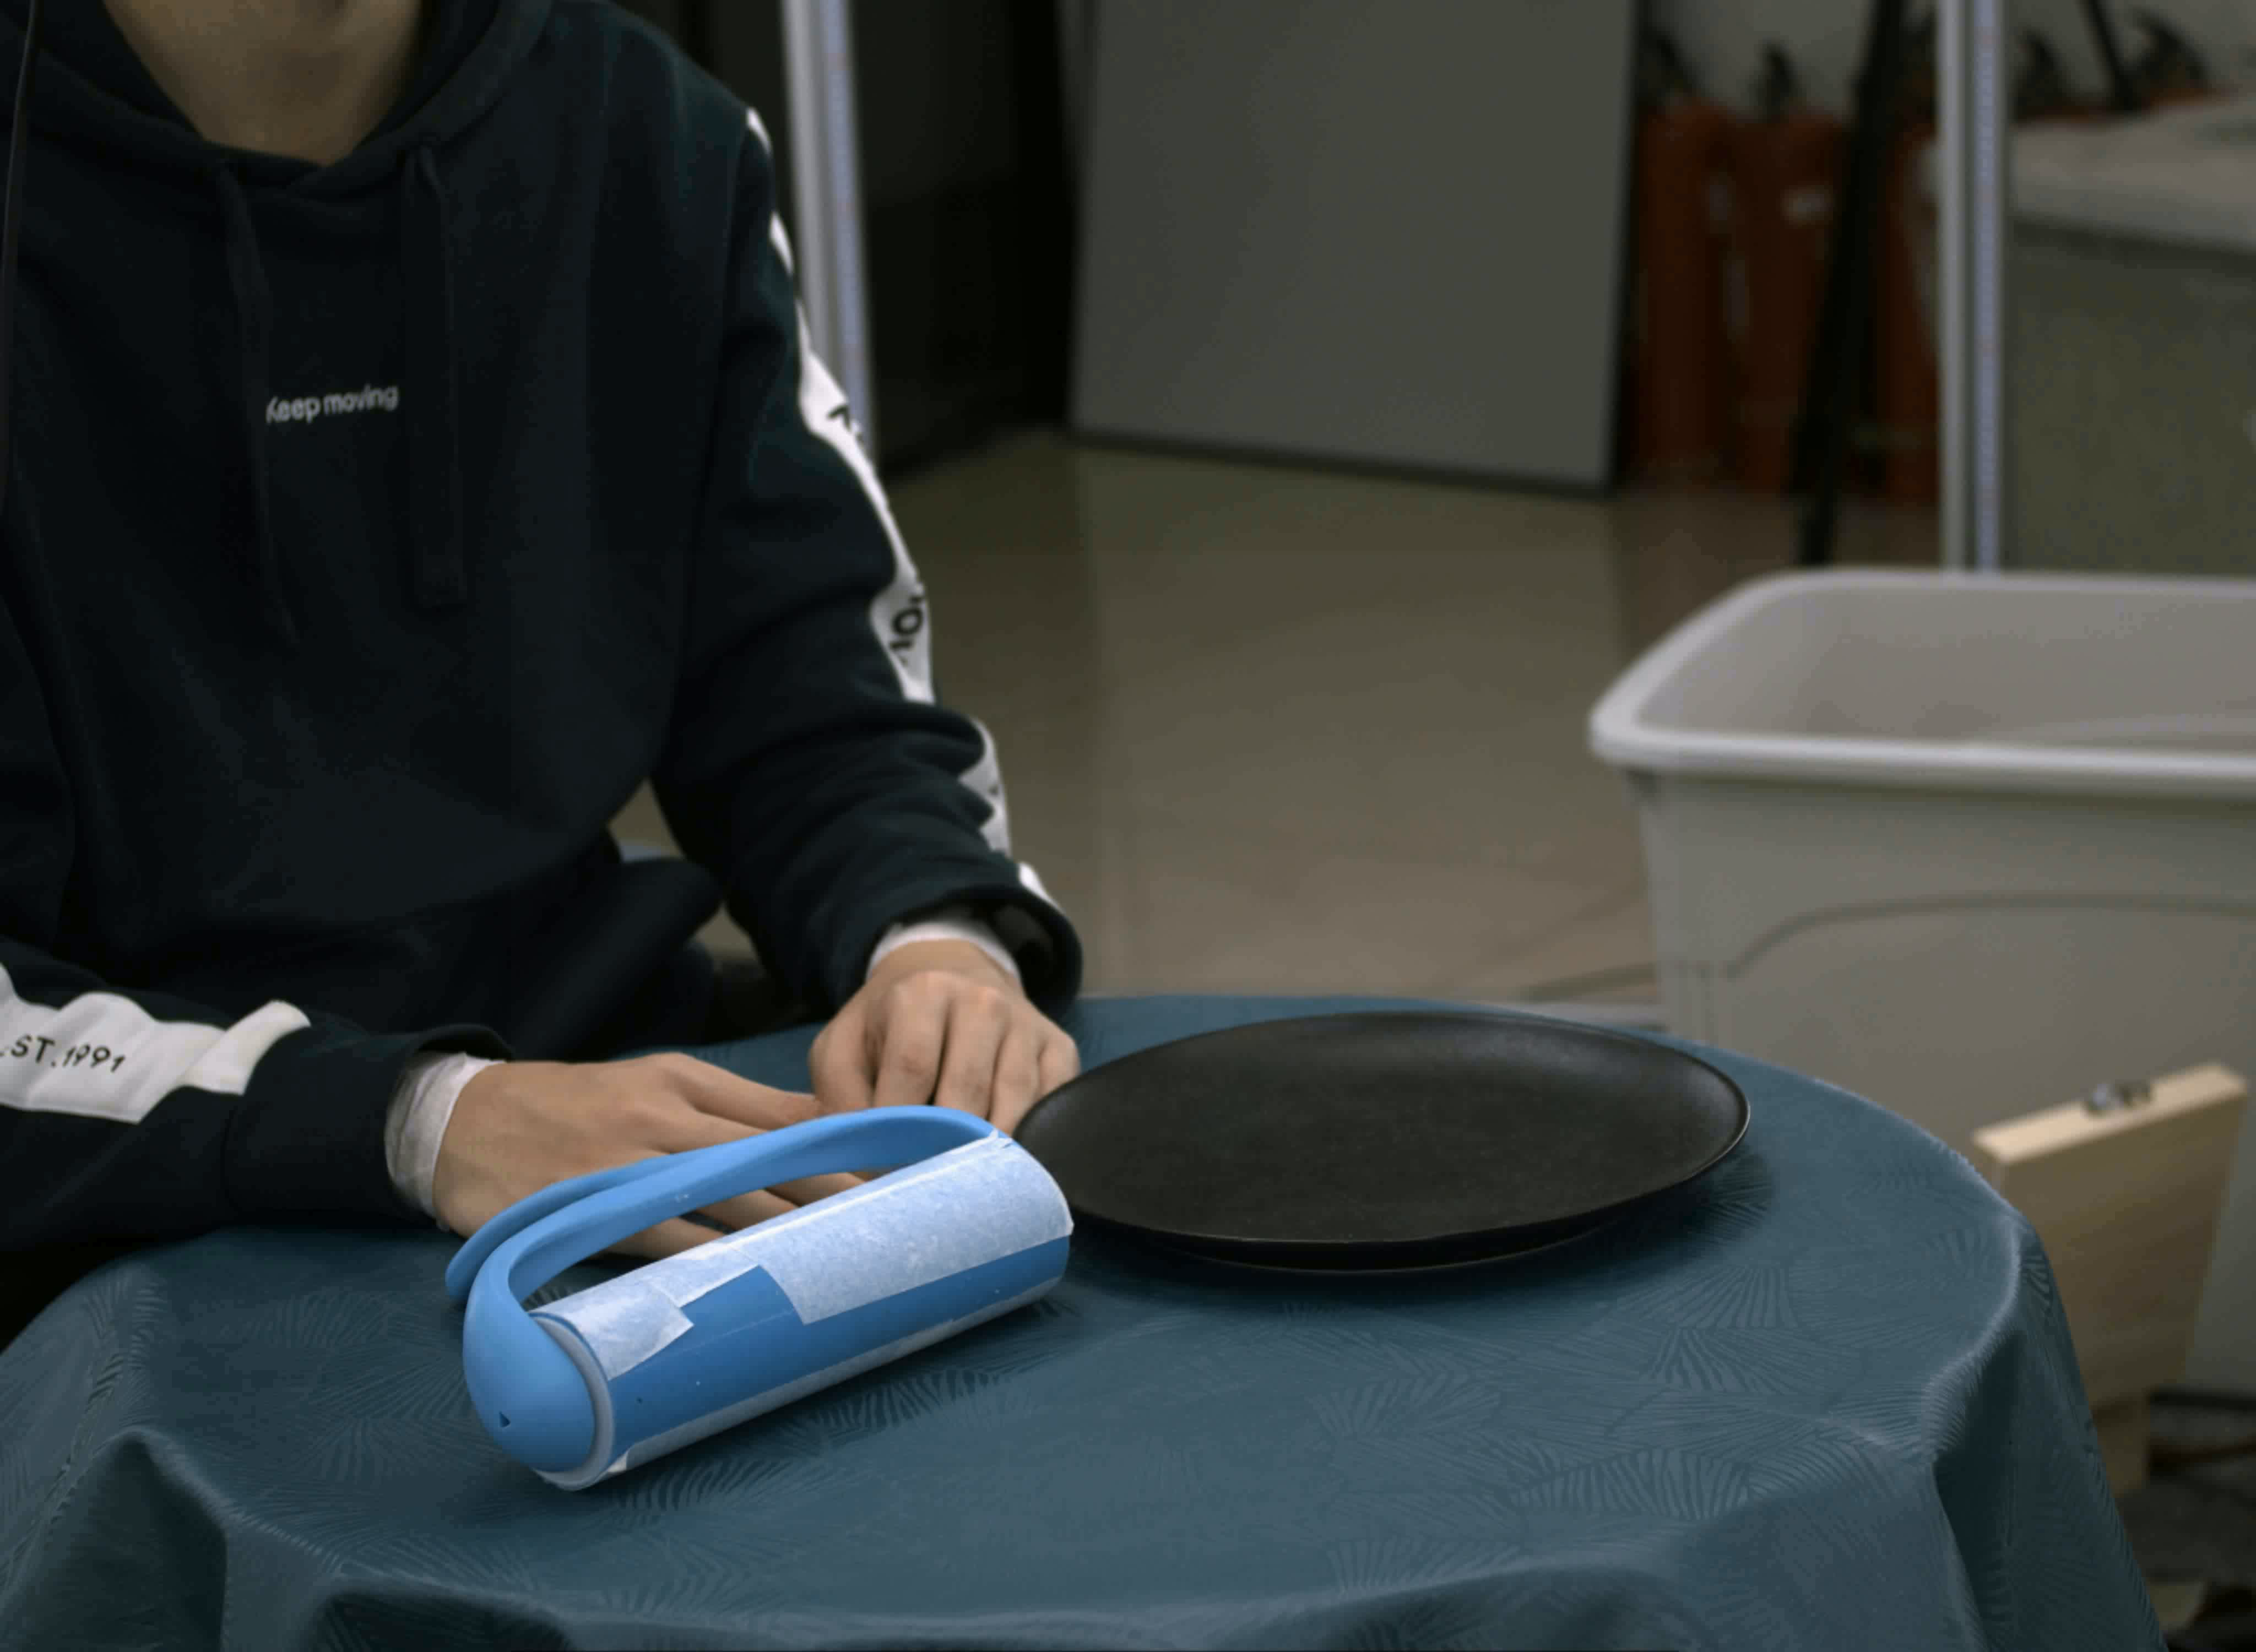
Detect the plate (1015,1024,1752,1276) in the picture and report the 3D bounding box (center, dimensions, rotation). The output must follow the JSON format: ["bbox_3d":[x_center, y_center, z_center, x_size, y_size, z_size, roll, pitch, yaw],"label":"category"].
[{"bbox_3d":[0.084,0.107,1.757,0.241,0.024,0.245,-4,13,0],"label":"plate"}]

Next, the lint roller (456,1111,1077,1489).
[{"bbox_3d":[-0.143,0.136,1.637,0.181,0.068,0.224,6,18,40],"label":"lint roller"}]
